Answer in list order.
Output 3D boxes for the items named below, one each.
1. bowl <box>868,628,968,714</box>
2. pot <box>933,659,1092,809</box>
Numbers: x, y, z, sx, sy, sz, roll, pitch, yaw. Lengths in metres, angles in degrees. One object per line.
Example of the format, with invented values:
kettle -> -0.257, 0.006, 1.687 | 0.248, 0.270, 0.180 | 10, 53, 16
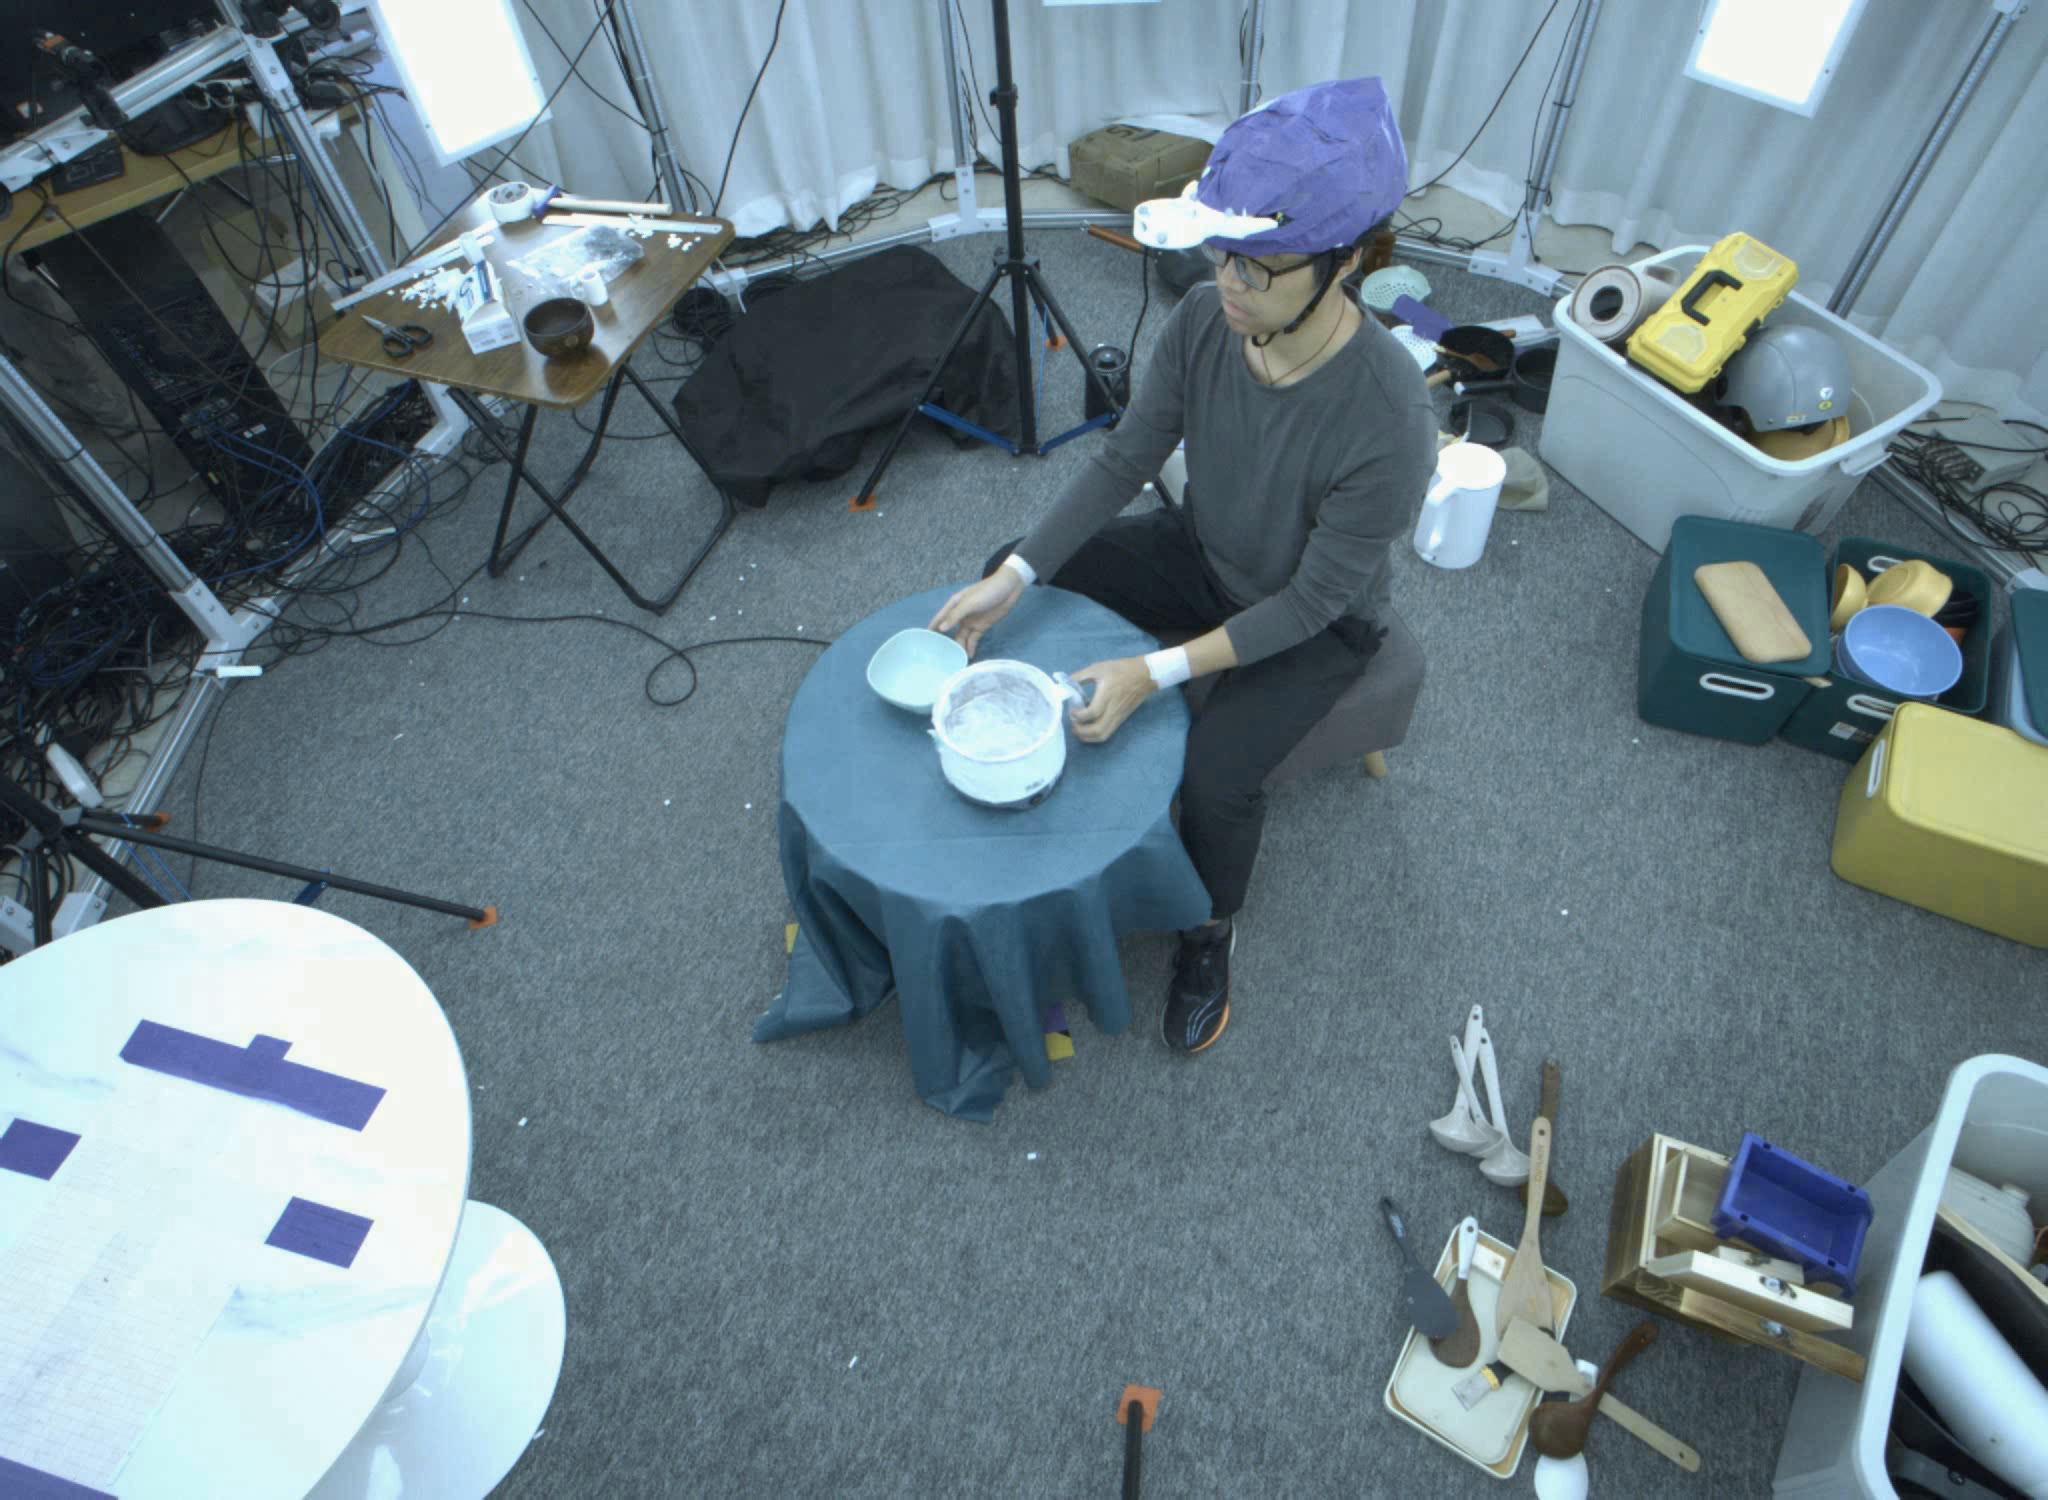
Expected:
bowl -> -0.155, -0.109, 1.842 | 0.151, 0.059, 0.150 | -1, 56, 3
pot -> -0.009, -0.032, 1.733 | 0.235, 0.138, 0.175 | -30, 59, -17
